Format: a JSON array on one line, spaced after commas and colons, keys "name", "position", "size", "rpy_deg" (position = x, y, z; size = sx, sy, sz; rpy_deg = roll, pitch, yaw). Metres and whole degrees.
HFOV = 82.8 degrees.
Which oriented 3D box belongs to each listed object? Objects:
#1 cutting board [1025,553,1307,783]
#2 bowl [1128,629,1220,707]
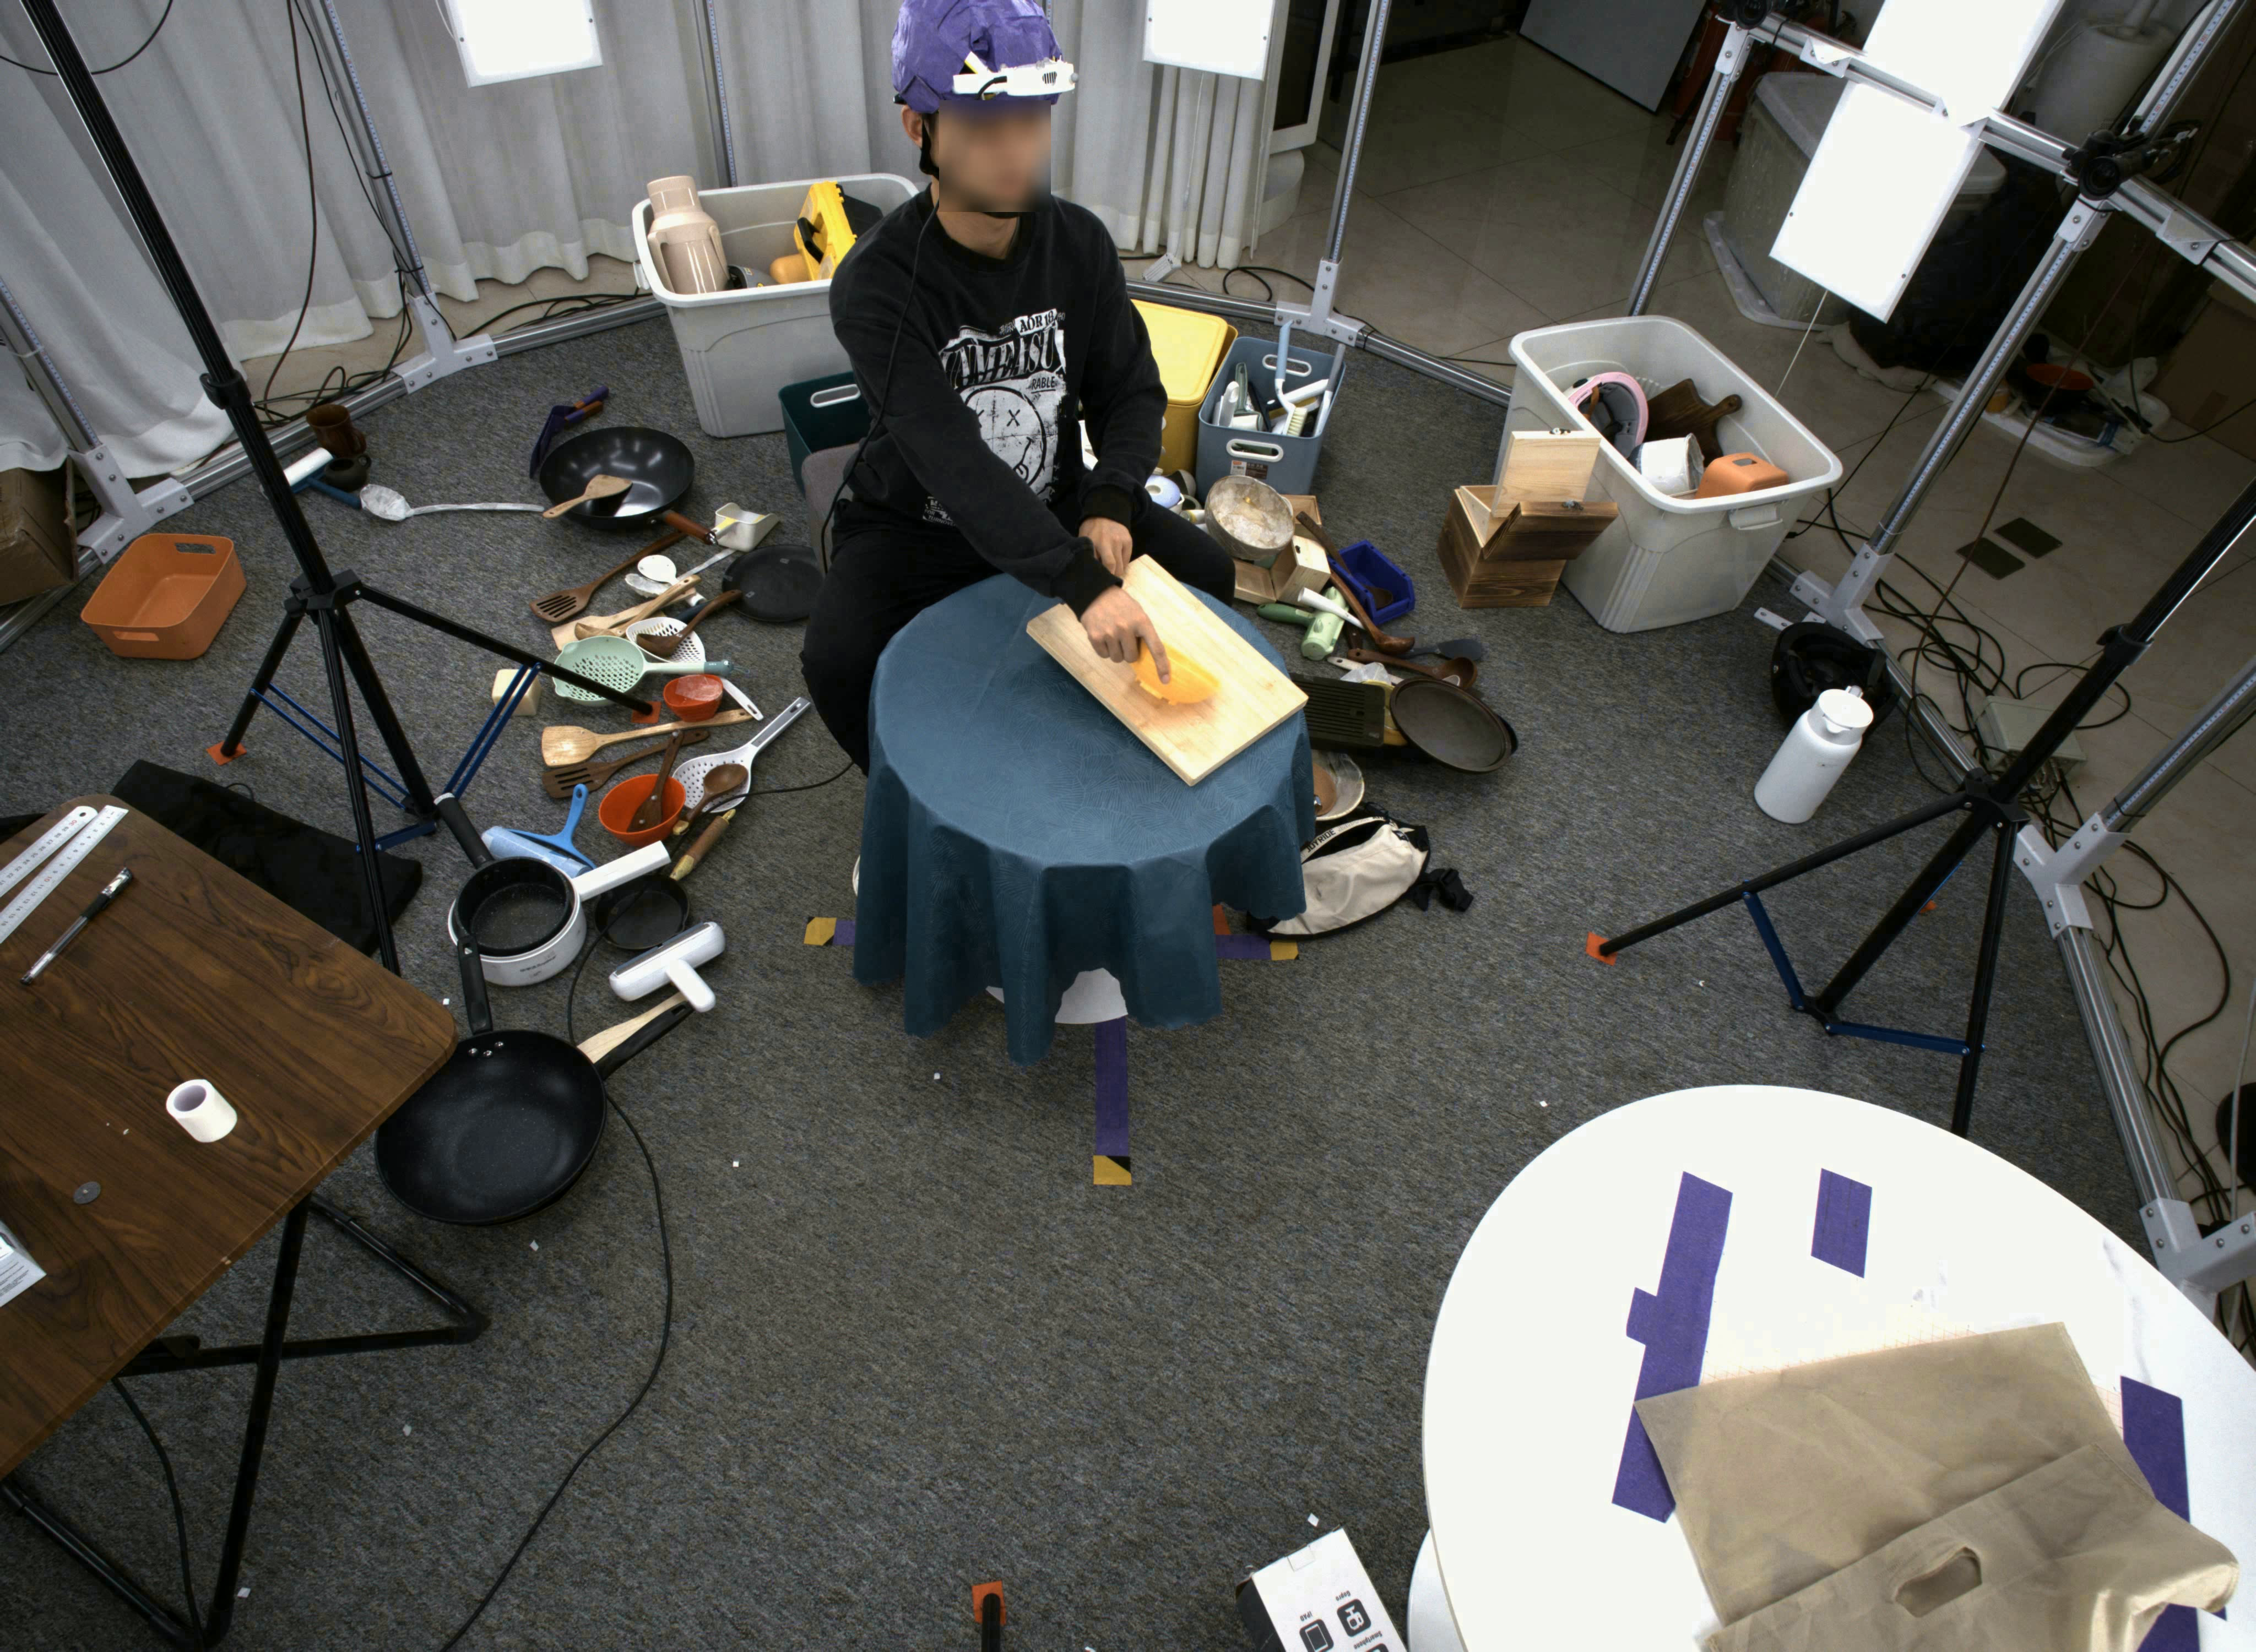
[{"name": "cutting board", "position": [0.054, -0.234, 1.849], "size": [0.253, 0.023, 0.353], "rpy_deg": [-35, 68, -30]}, {"name": "bowl", "position": [0.051, -0.206, 1.757], "size": [0.147, 0.060, 0.144], "rpy_deg": [39, 12, 26]}]
